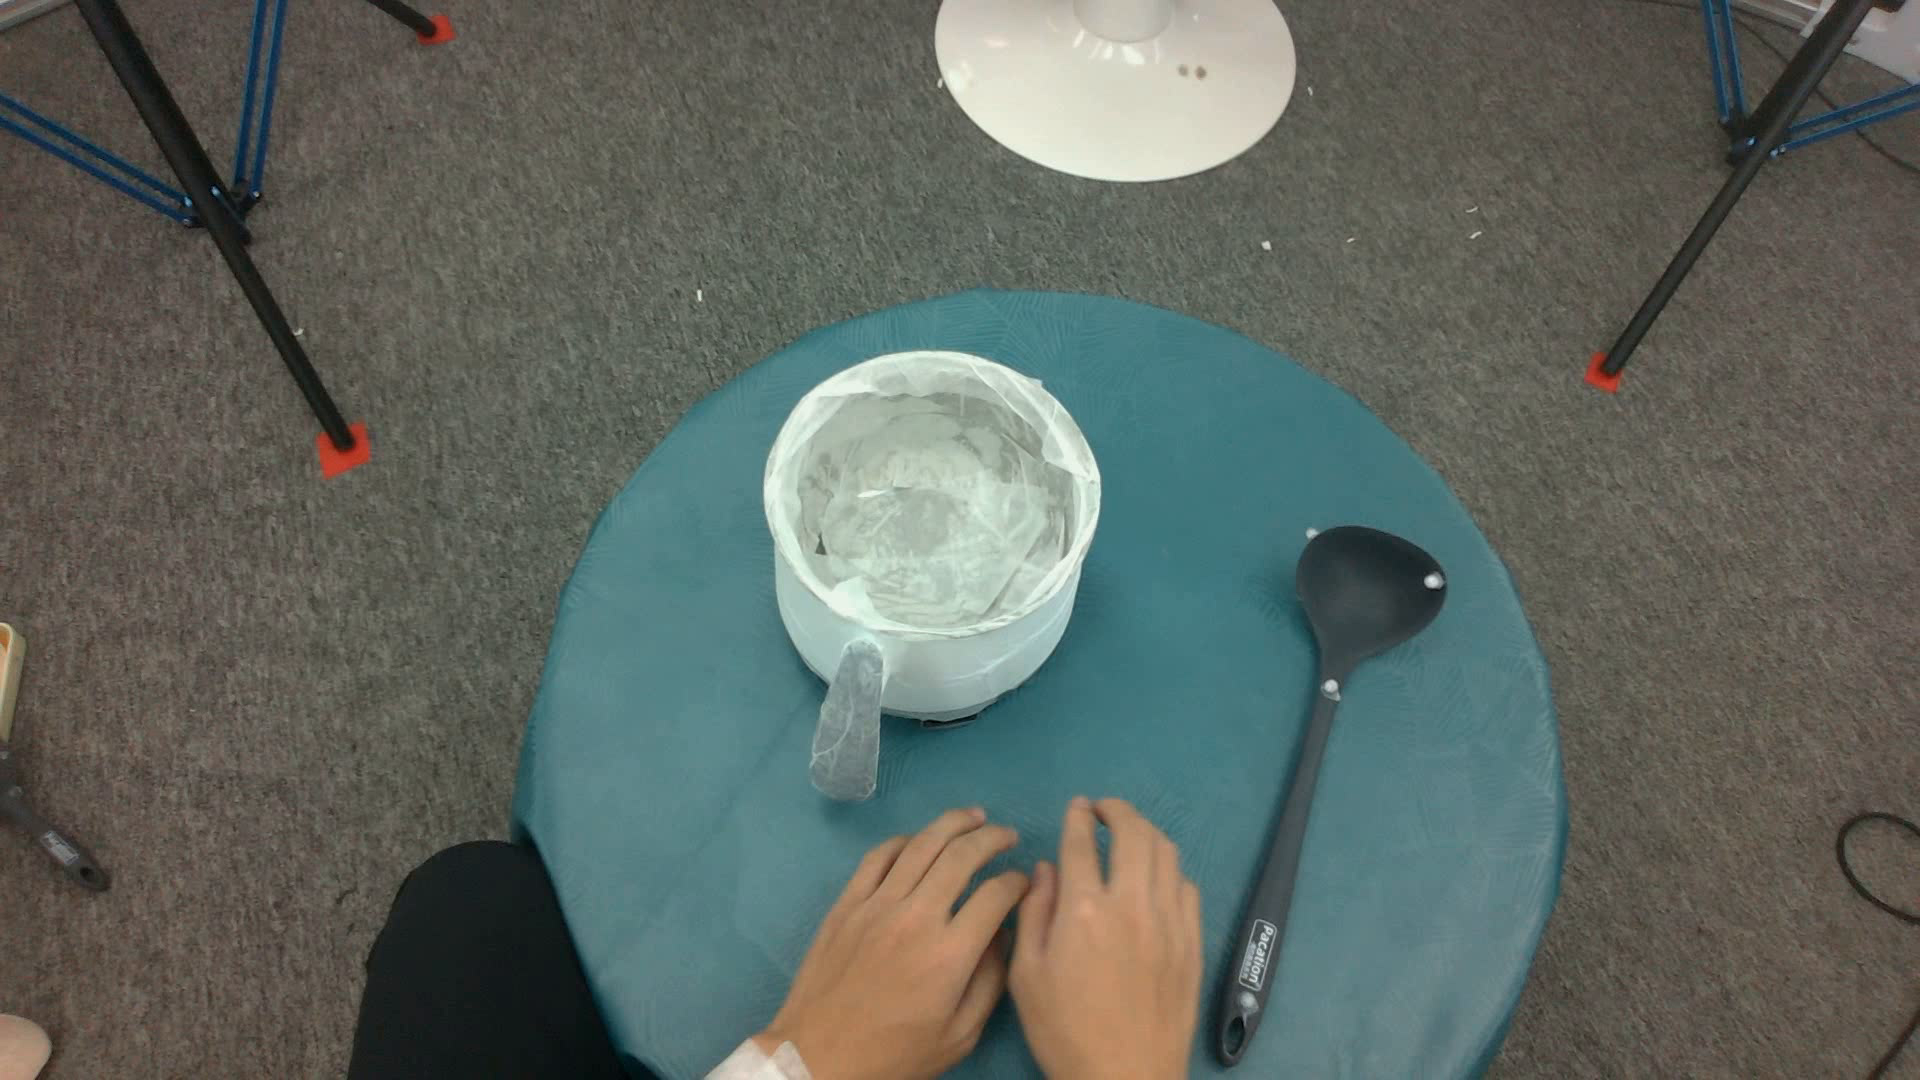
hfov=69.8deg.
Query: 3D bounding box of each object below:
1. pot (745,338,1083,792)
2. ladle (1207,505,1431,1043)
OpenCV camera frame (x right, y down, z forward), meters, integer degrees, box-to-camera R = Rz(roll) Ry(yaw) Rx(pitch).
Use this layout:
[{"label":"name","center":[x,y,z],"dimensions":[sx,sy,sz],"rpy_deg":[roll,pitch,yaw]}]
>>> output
[{"label":"pot","center":[-0.035,0.019,0.762],"dimensions":[0.178,0.136,0.235],"rpy_deg":[17,61,5]},{"label":"ladle","center":[0.189,0.121,0.765],"dimensions":[0.086,0.063,0.315],"rpy_deg":[19,61,9]}]
